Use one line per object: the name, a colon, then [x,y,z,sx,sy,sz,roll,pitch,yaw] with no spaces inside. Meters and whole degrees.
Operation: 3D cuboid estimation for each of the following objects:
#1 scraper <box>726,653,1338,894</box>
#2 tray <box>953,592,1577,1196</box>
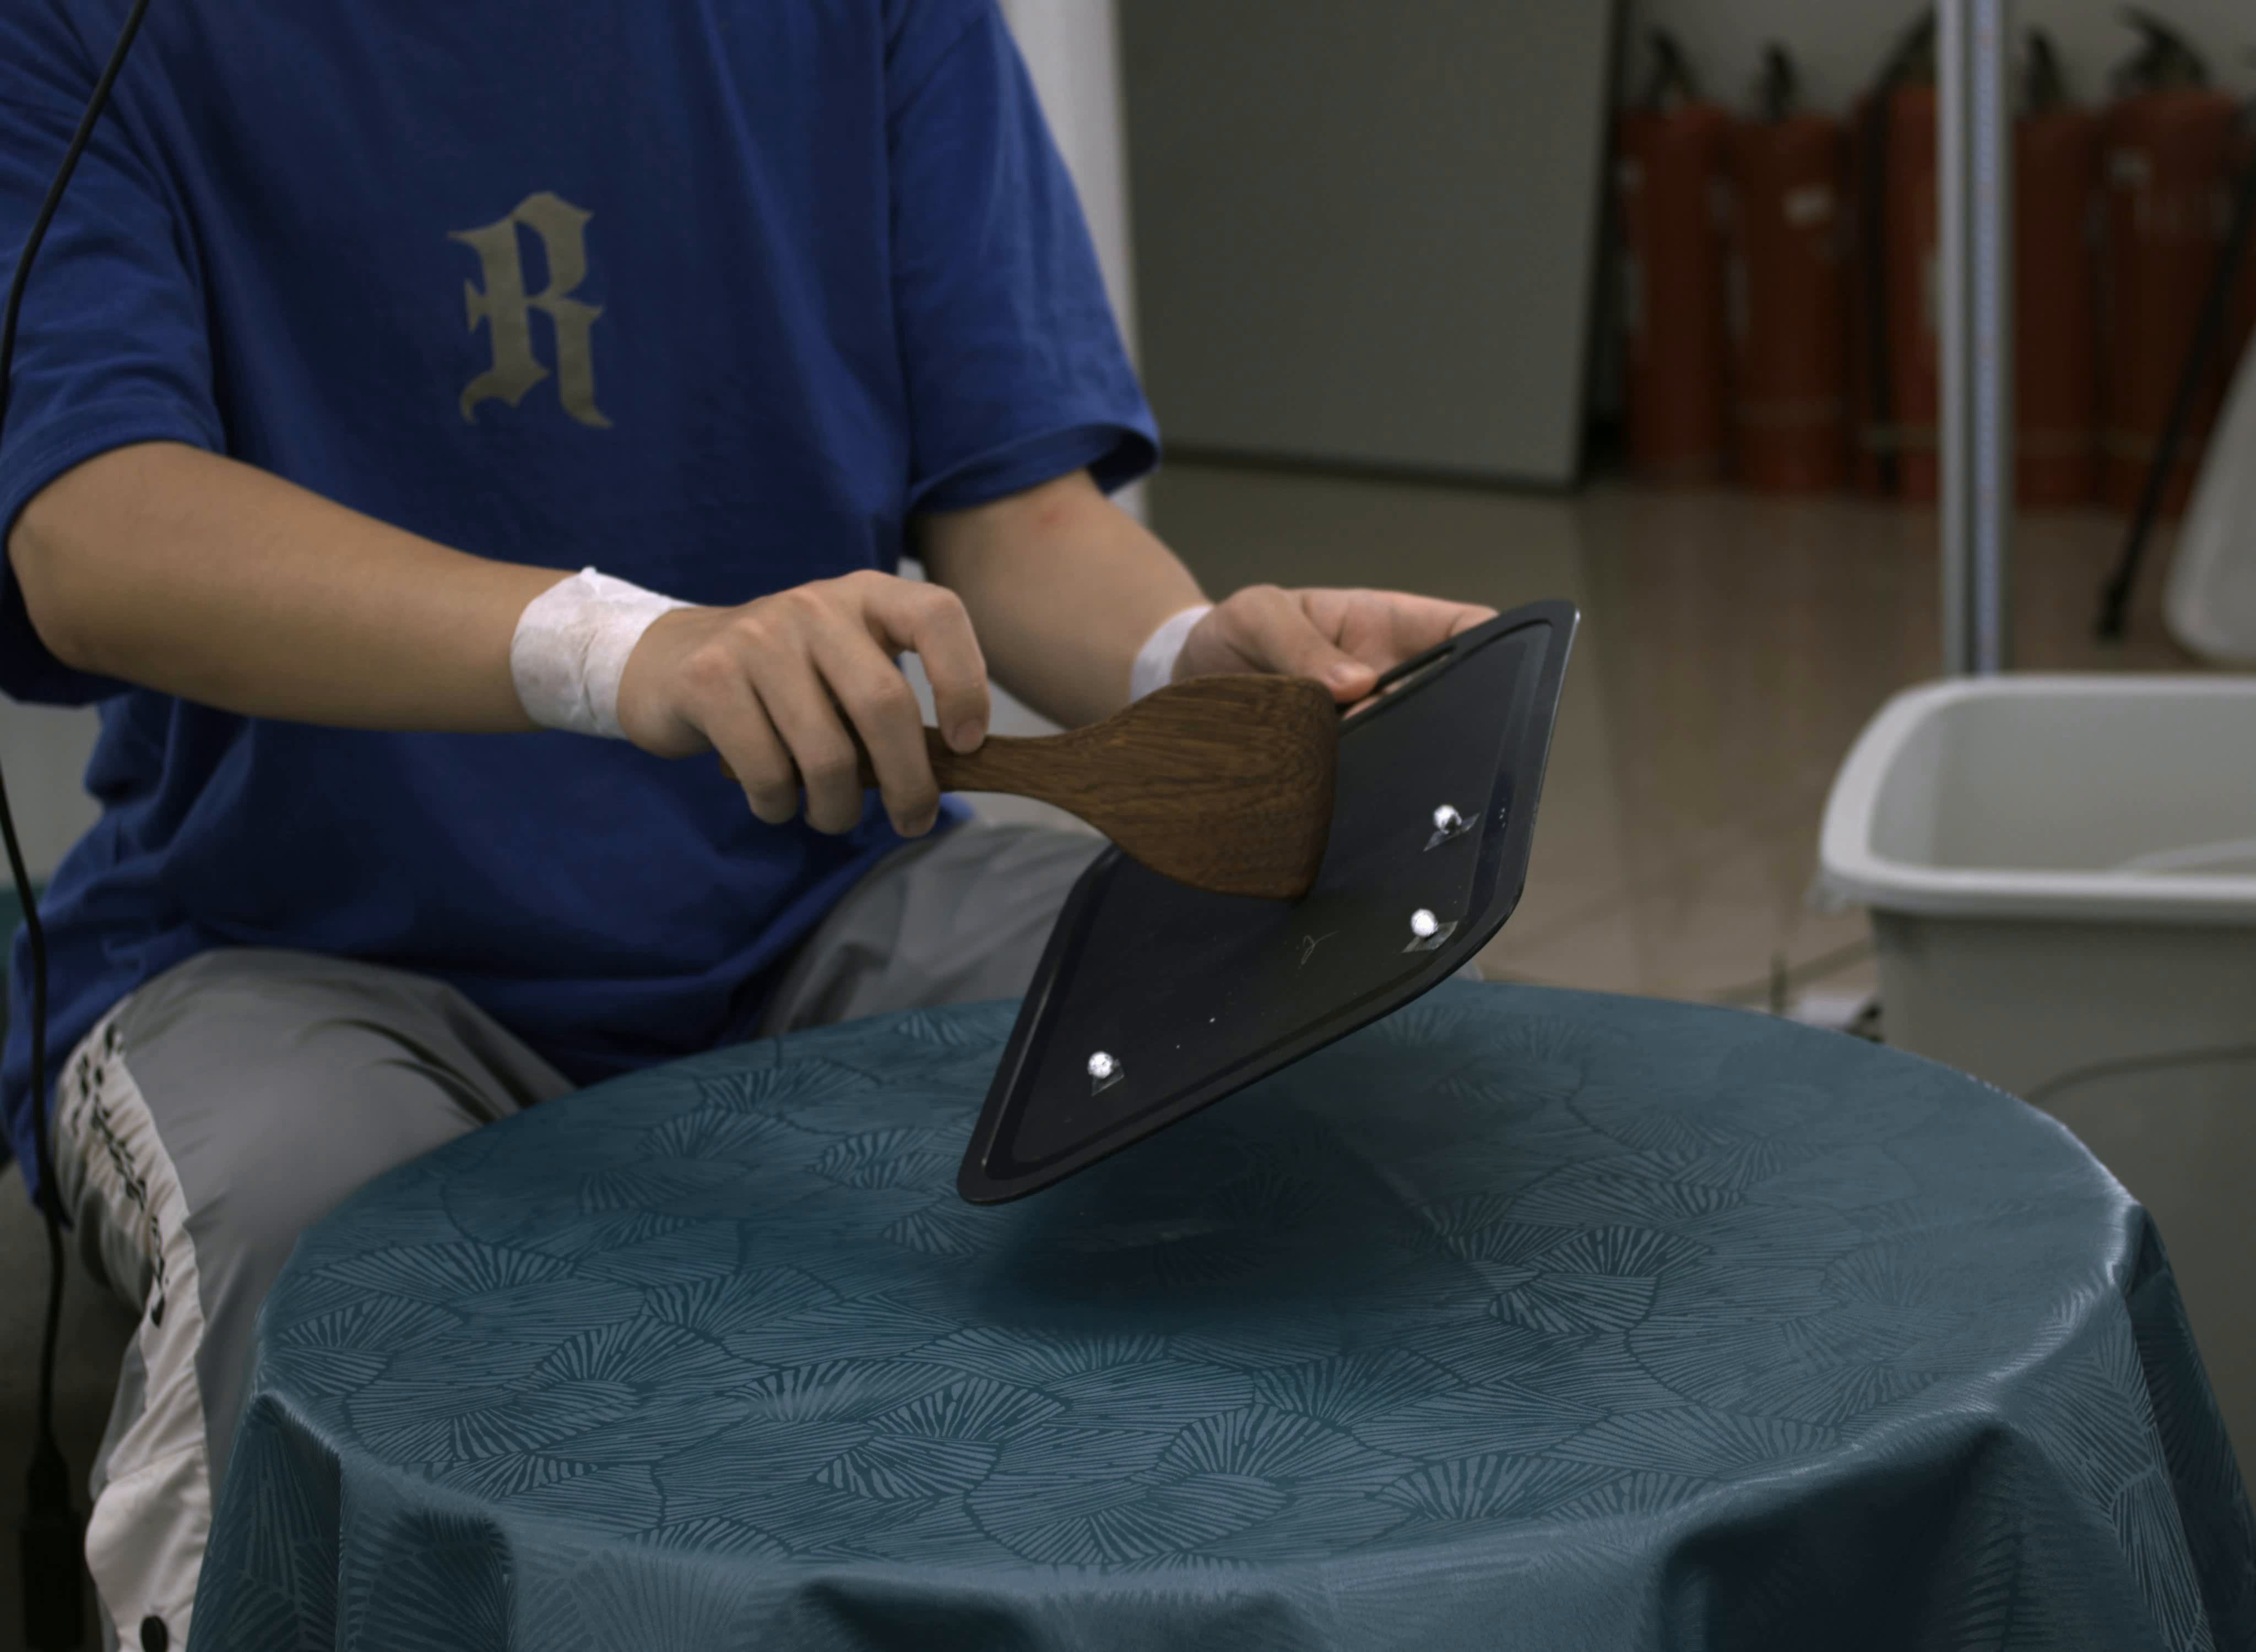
scraper: [-0.033,-0.024,1.753,0.211,0.077,0.011,5,2,19]
tray: [0.049,0.014,1.763,0.211,0.010,0.324,-30,16,21]
